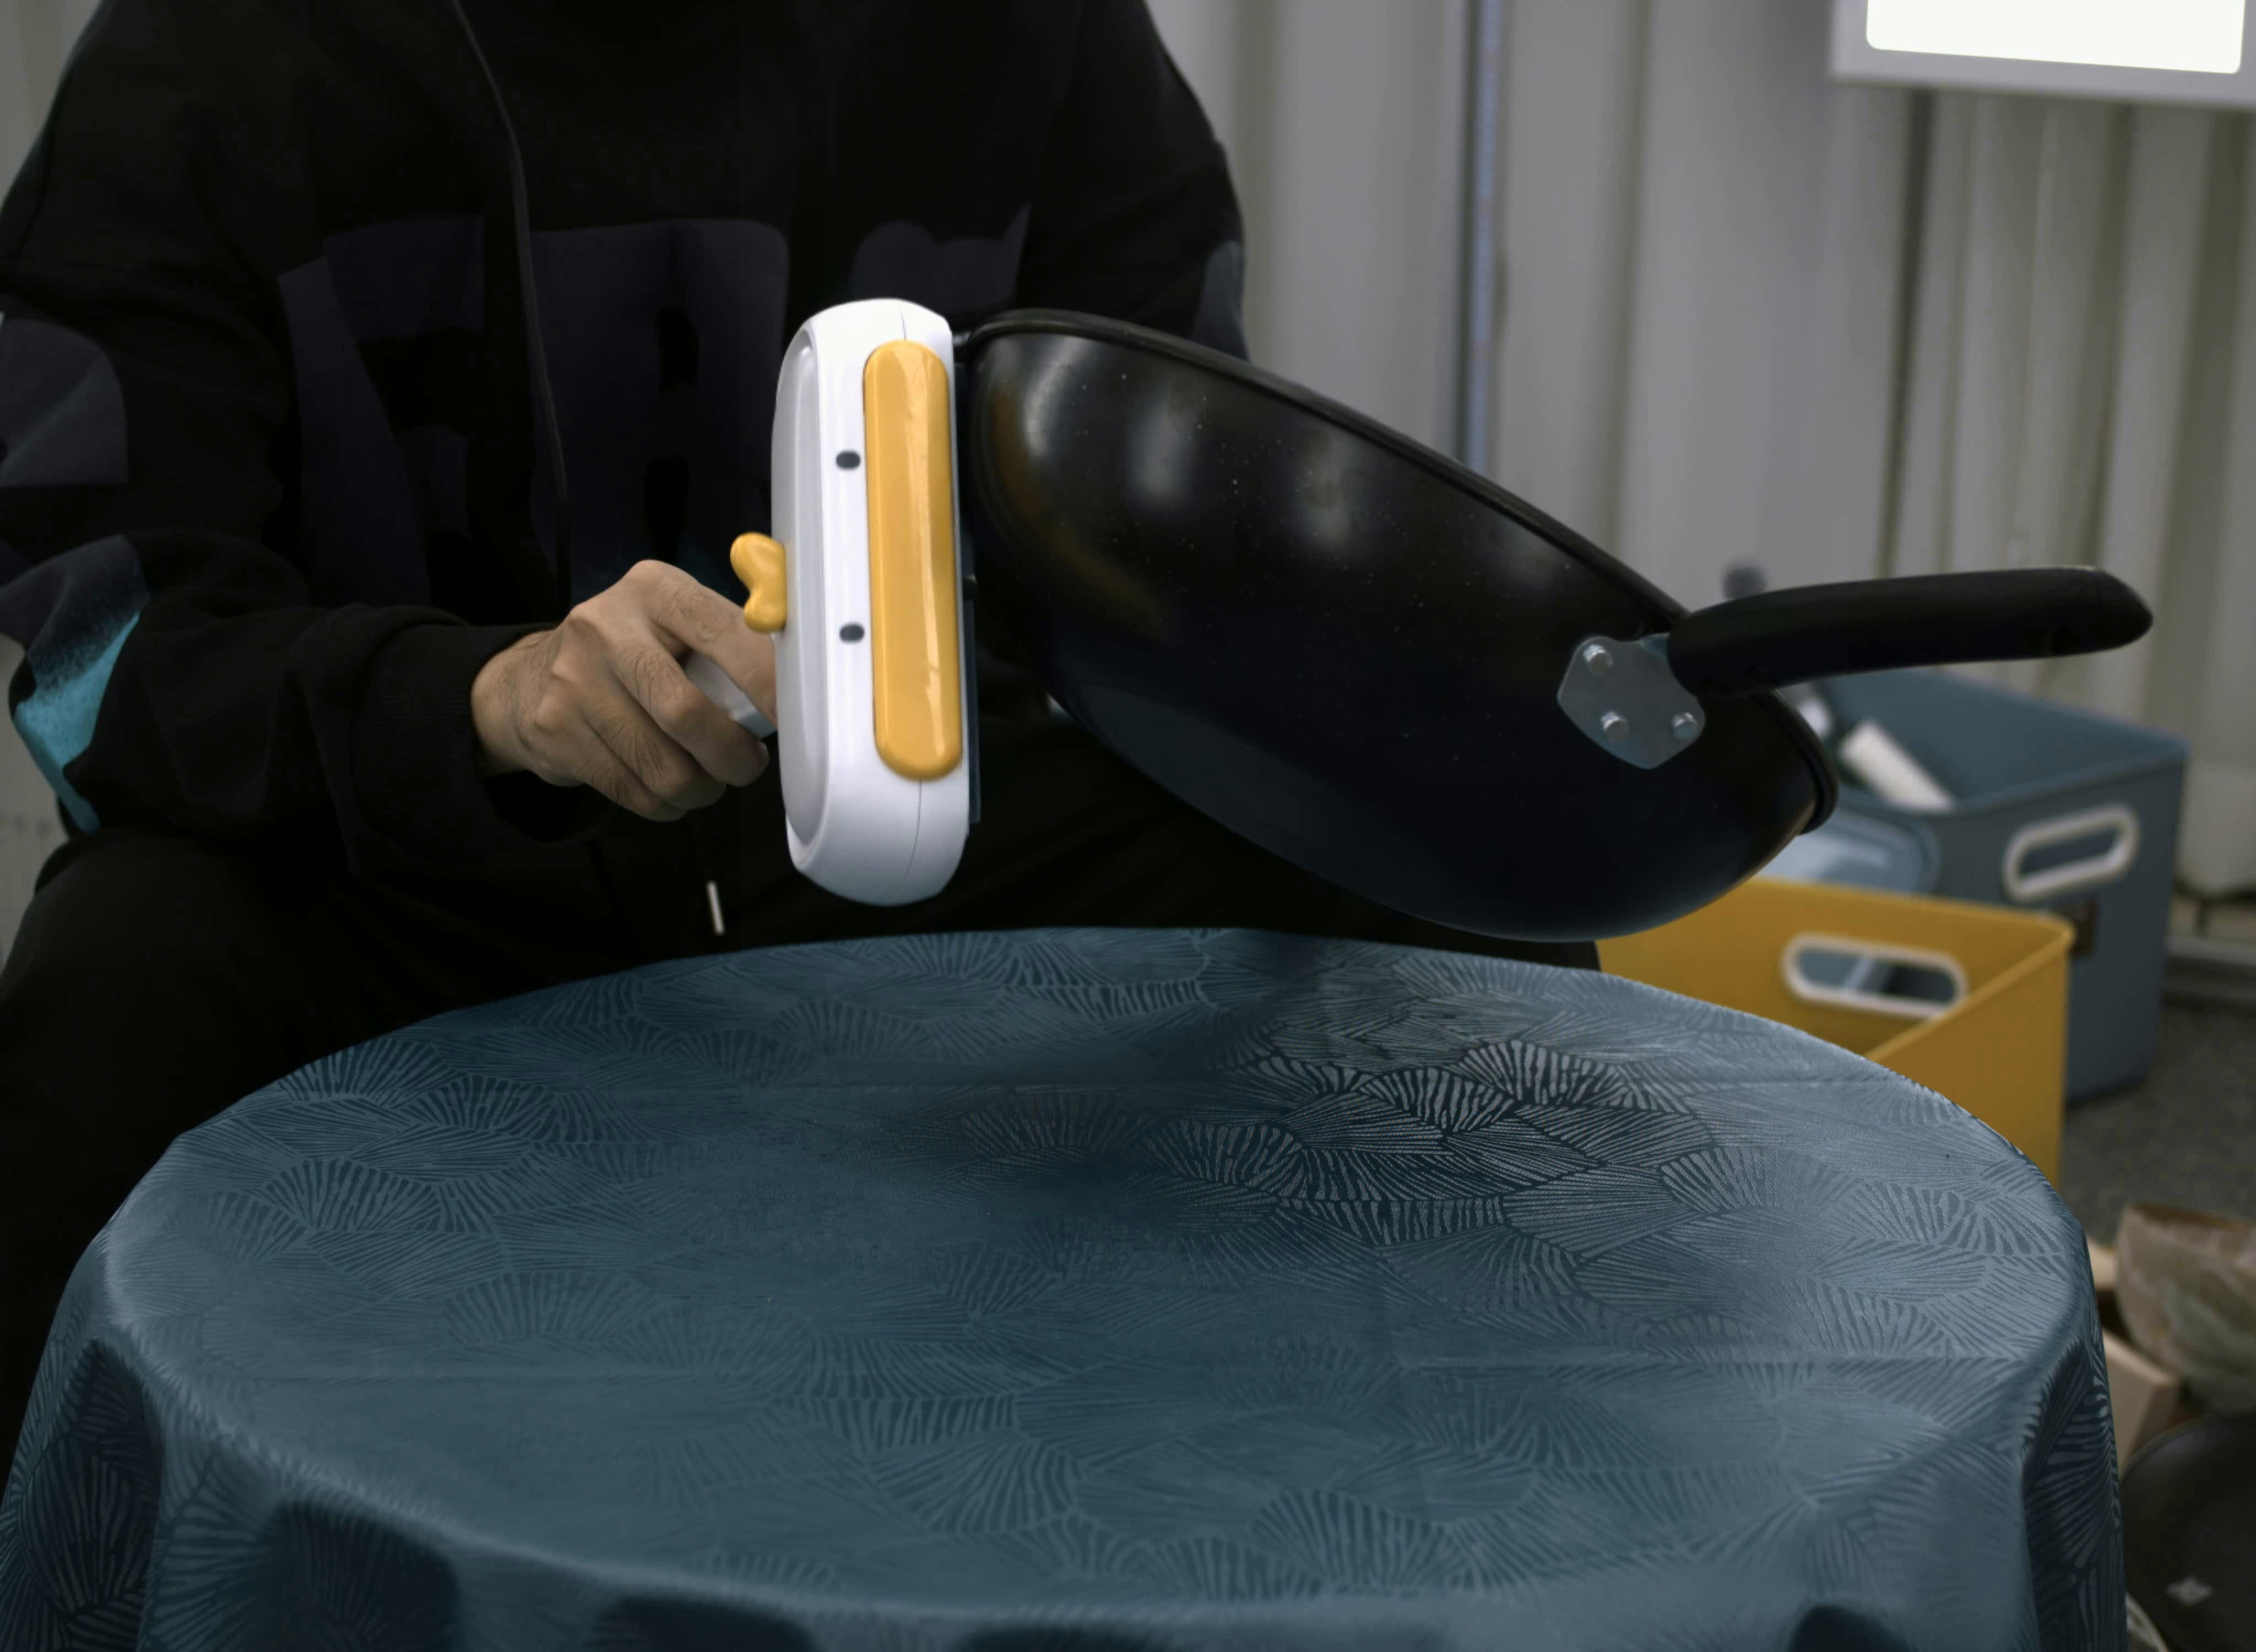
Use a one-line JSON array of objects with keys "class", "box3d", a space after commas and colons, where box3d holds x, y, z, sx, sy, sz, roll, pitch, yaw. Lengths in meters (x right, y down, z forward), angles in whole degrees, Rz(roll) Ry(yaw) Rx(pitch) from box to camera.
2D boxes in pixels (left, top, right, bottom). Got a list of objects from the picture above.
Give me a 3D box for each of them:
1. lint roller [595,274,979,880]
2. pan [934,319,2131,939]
[{"class": "lint roller", "box3d": [-0.110, -0.054, 1.659, 0.074, 0.192, 0.192, 2, -24, -27]}, {"class": "pan", "box3d": [0.110, -0.044, 1.577, 0.314, 0.111, 0.471, 33, -12, -32]}]
